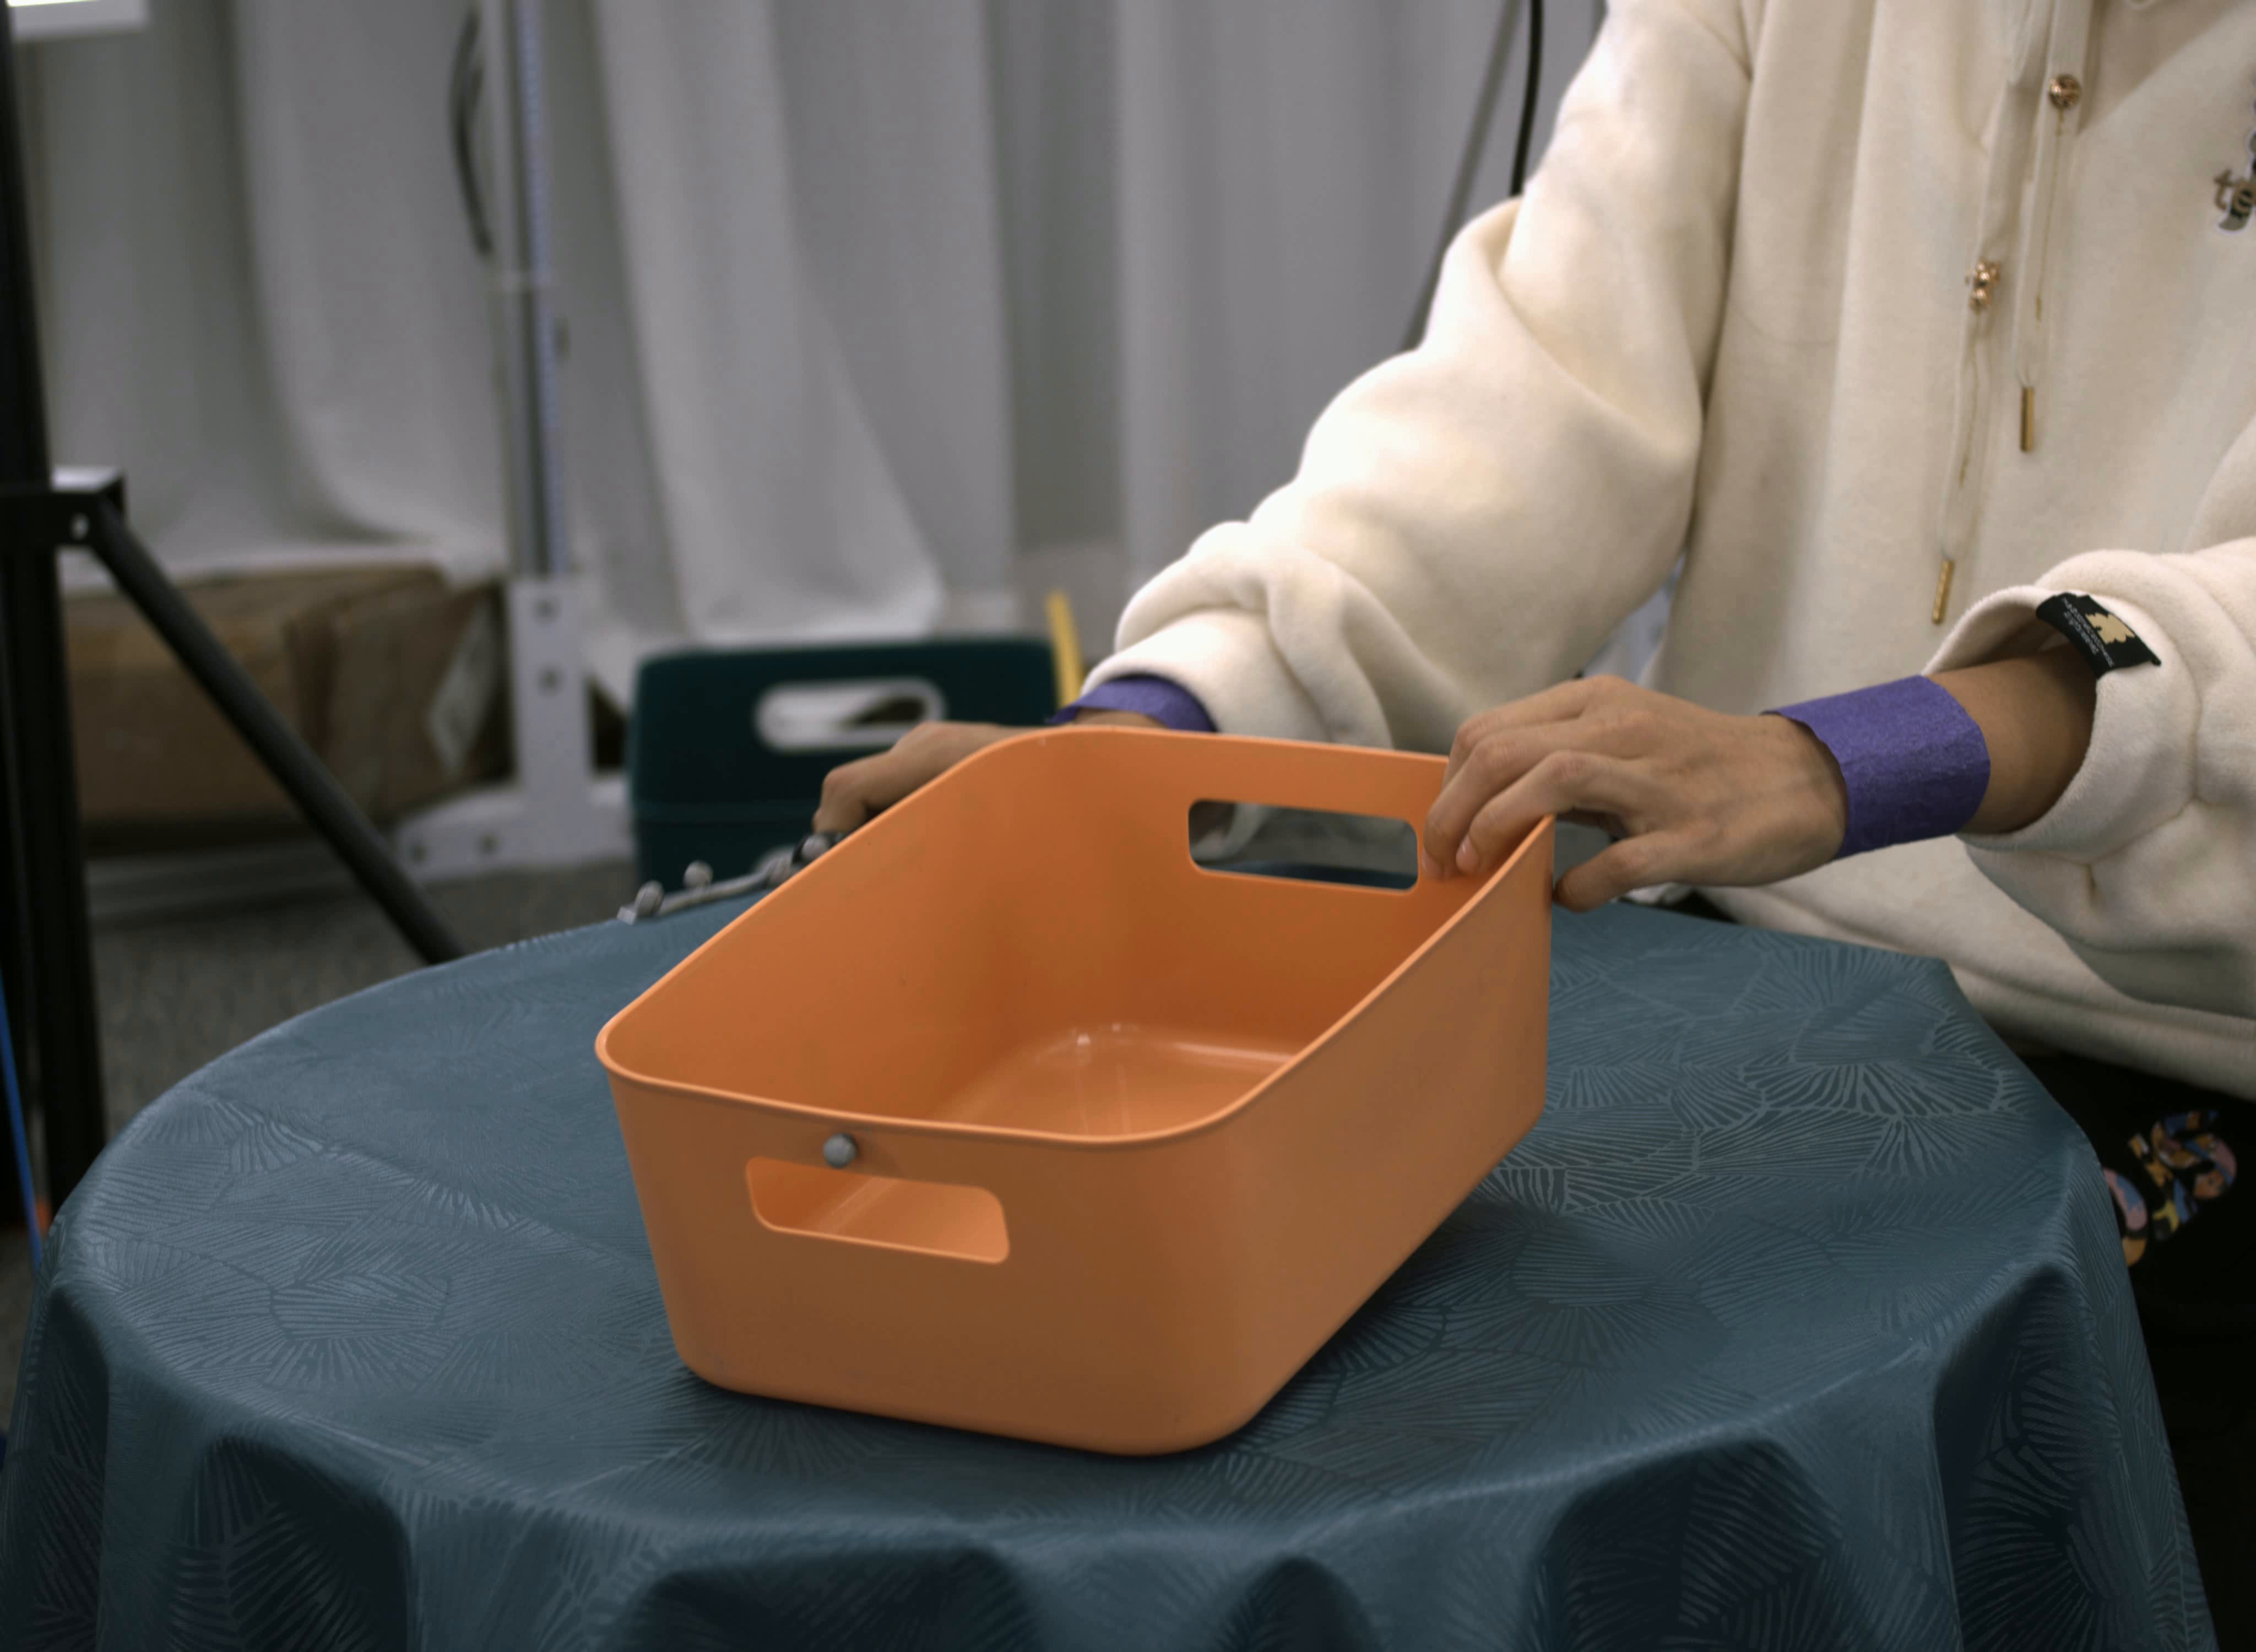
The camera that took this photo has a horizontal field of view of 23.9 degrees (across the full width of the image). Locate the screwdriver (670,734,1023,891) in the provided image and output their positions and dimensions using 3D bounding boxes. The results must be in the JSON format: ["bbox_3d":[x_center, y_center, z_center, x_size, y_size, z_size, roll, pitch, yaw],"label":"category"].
[{"bbox_3d":[-0.084,0.001,1.690,0.032,0.031,0.194,7,16,28],"label":"screwdriver"}]

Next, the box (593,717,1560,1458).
[{"bbox_3d":[-0.003,0.068,1.464,0.203,0.102,0.269,5,24,28],"label":"box"}]
